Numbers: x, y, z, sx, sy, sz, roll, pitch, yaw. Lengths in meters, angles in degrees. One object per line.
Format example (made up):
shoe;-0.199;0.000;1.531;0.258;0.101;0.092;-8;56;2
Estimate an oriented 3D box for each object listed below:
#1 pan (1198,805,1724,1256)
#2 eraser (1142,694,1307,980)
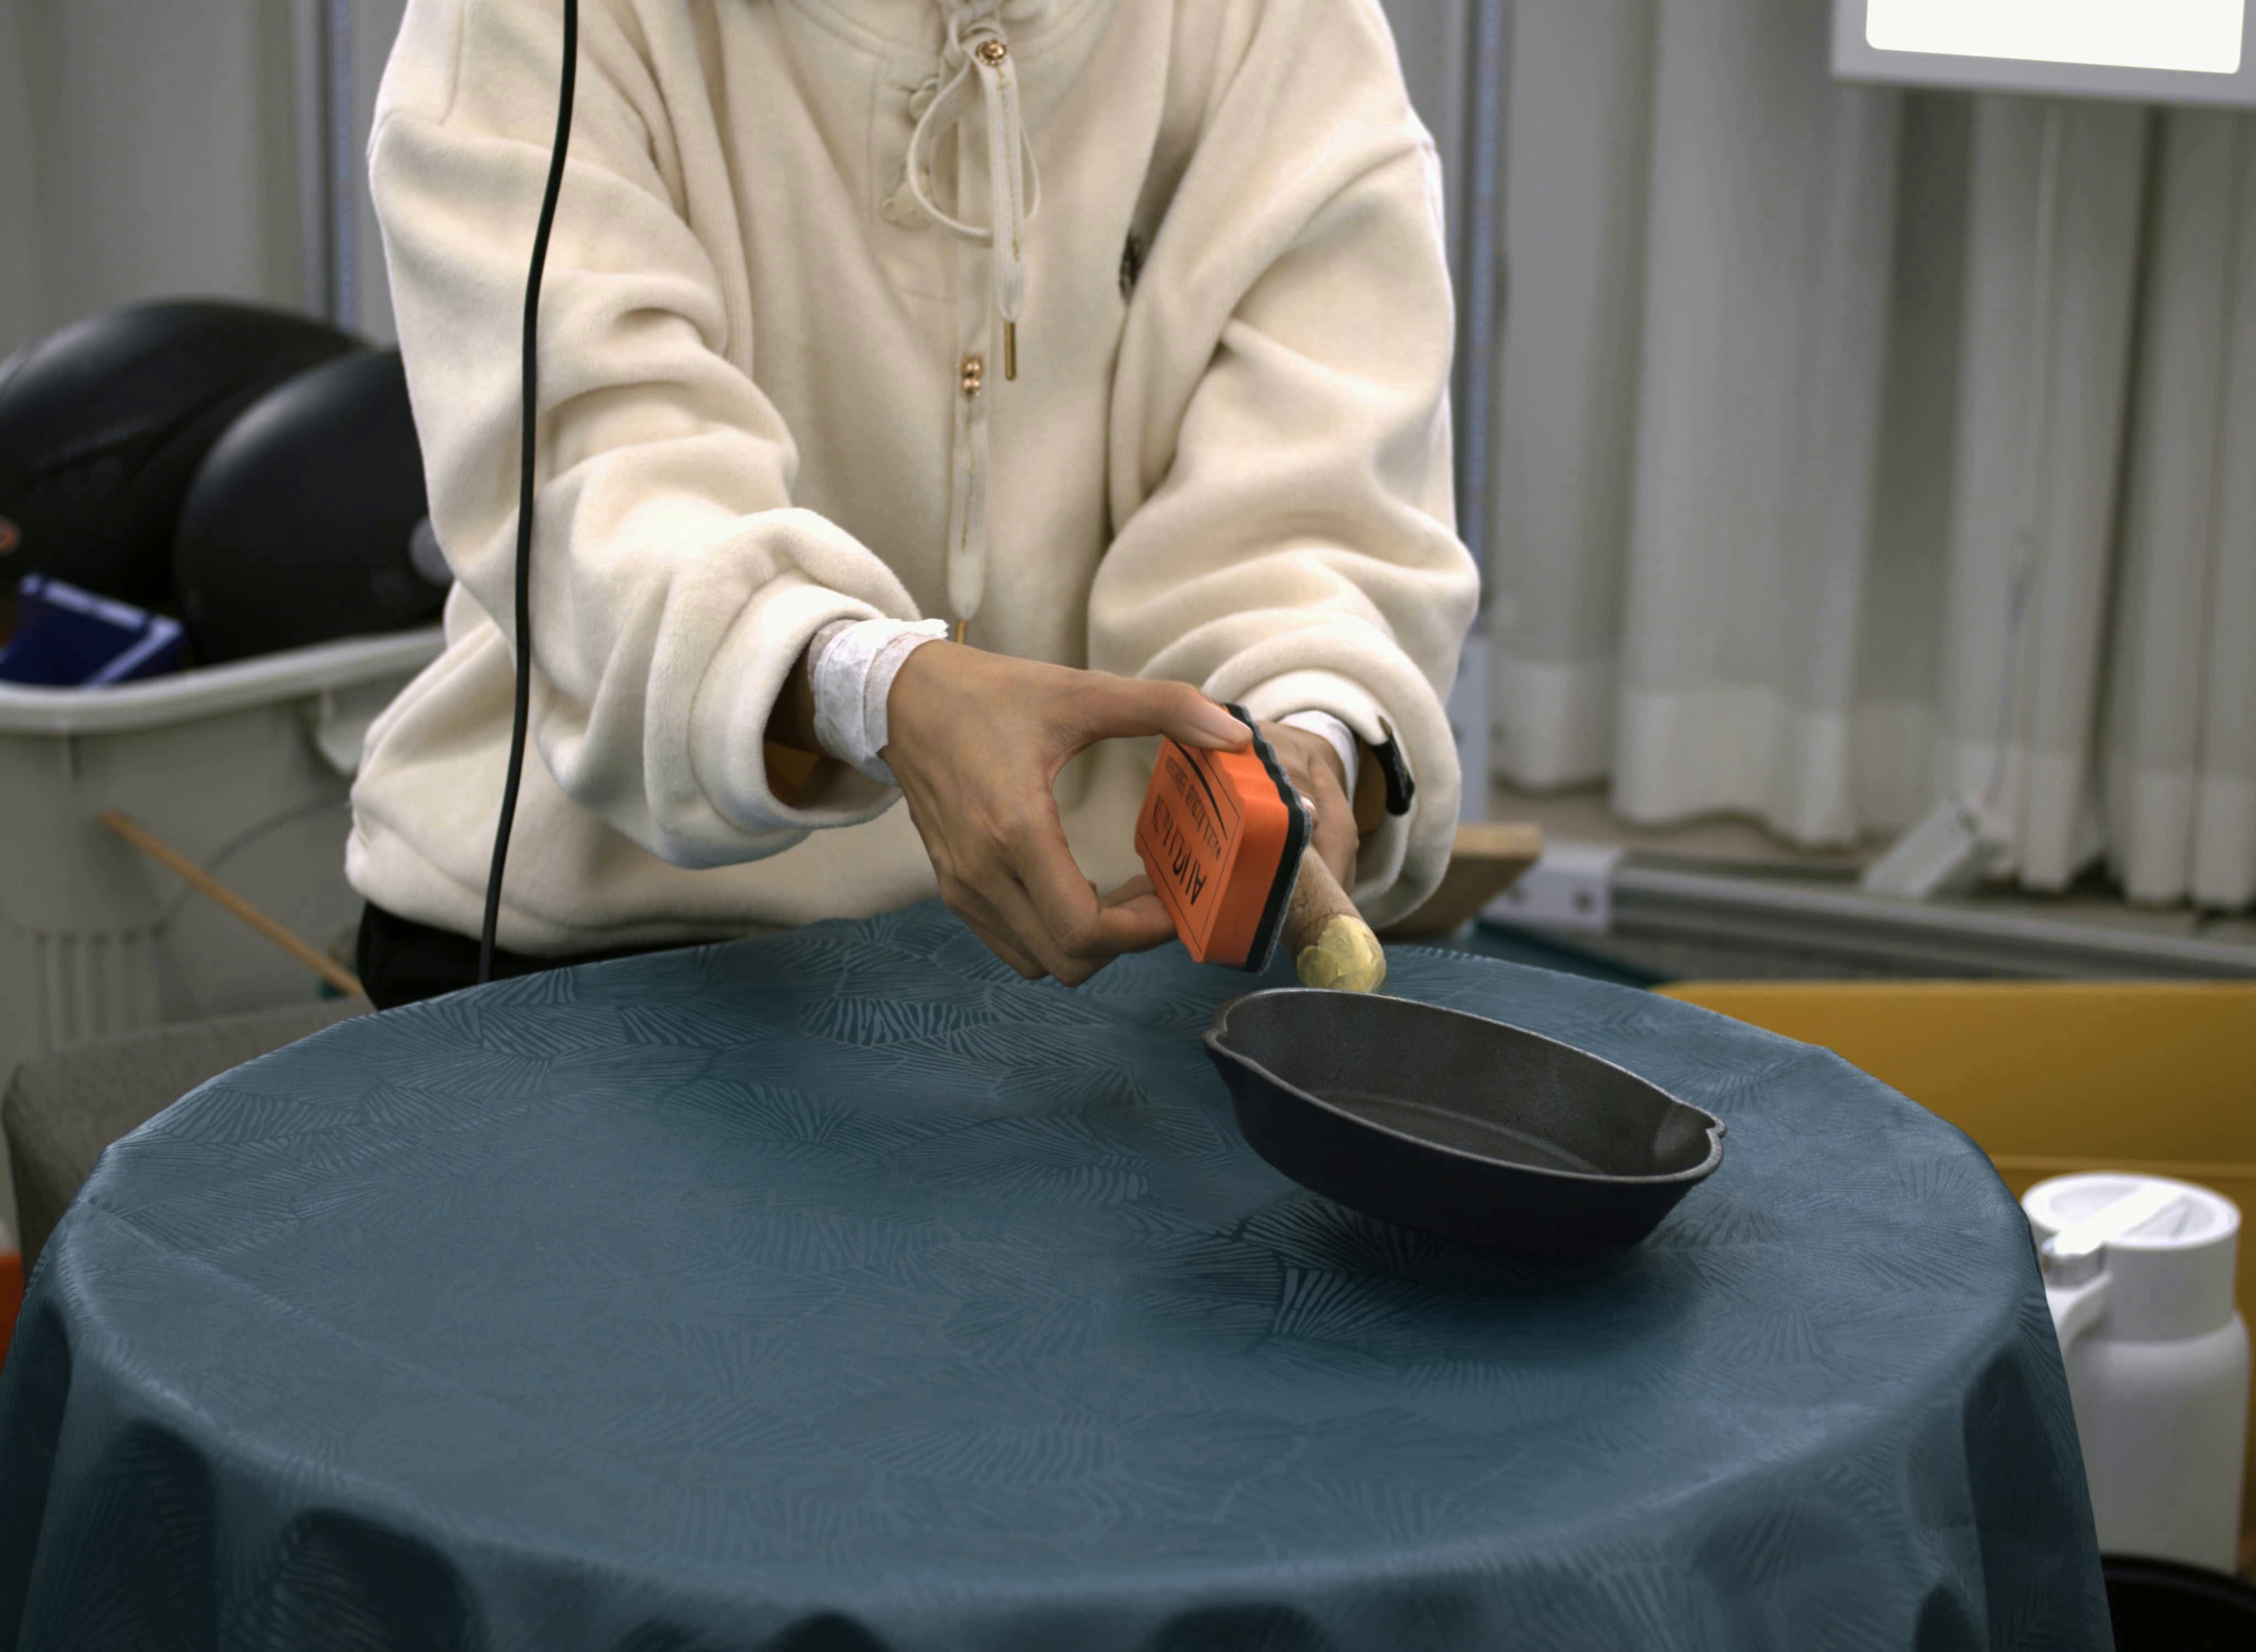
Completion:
pan;0.078;0.057;1.649;0.169;0.050;0.321;10;16;-18
eraser;0.030;0.002;1.677;0.023;0.059;0.107;12;20;-16
